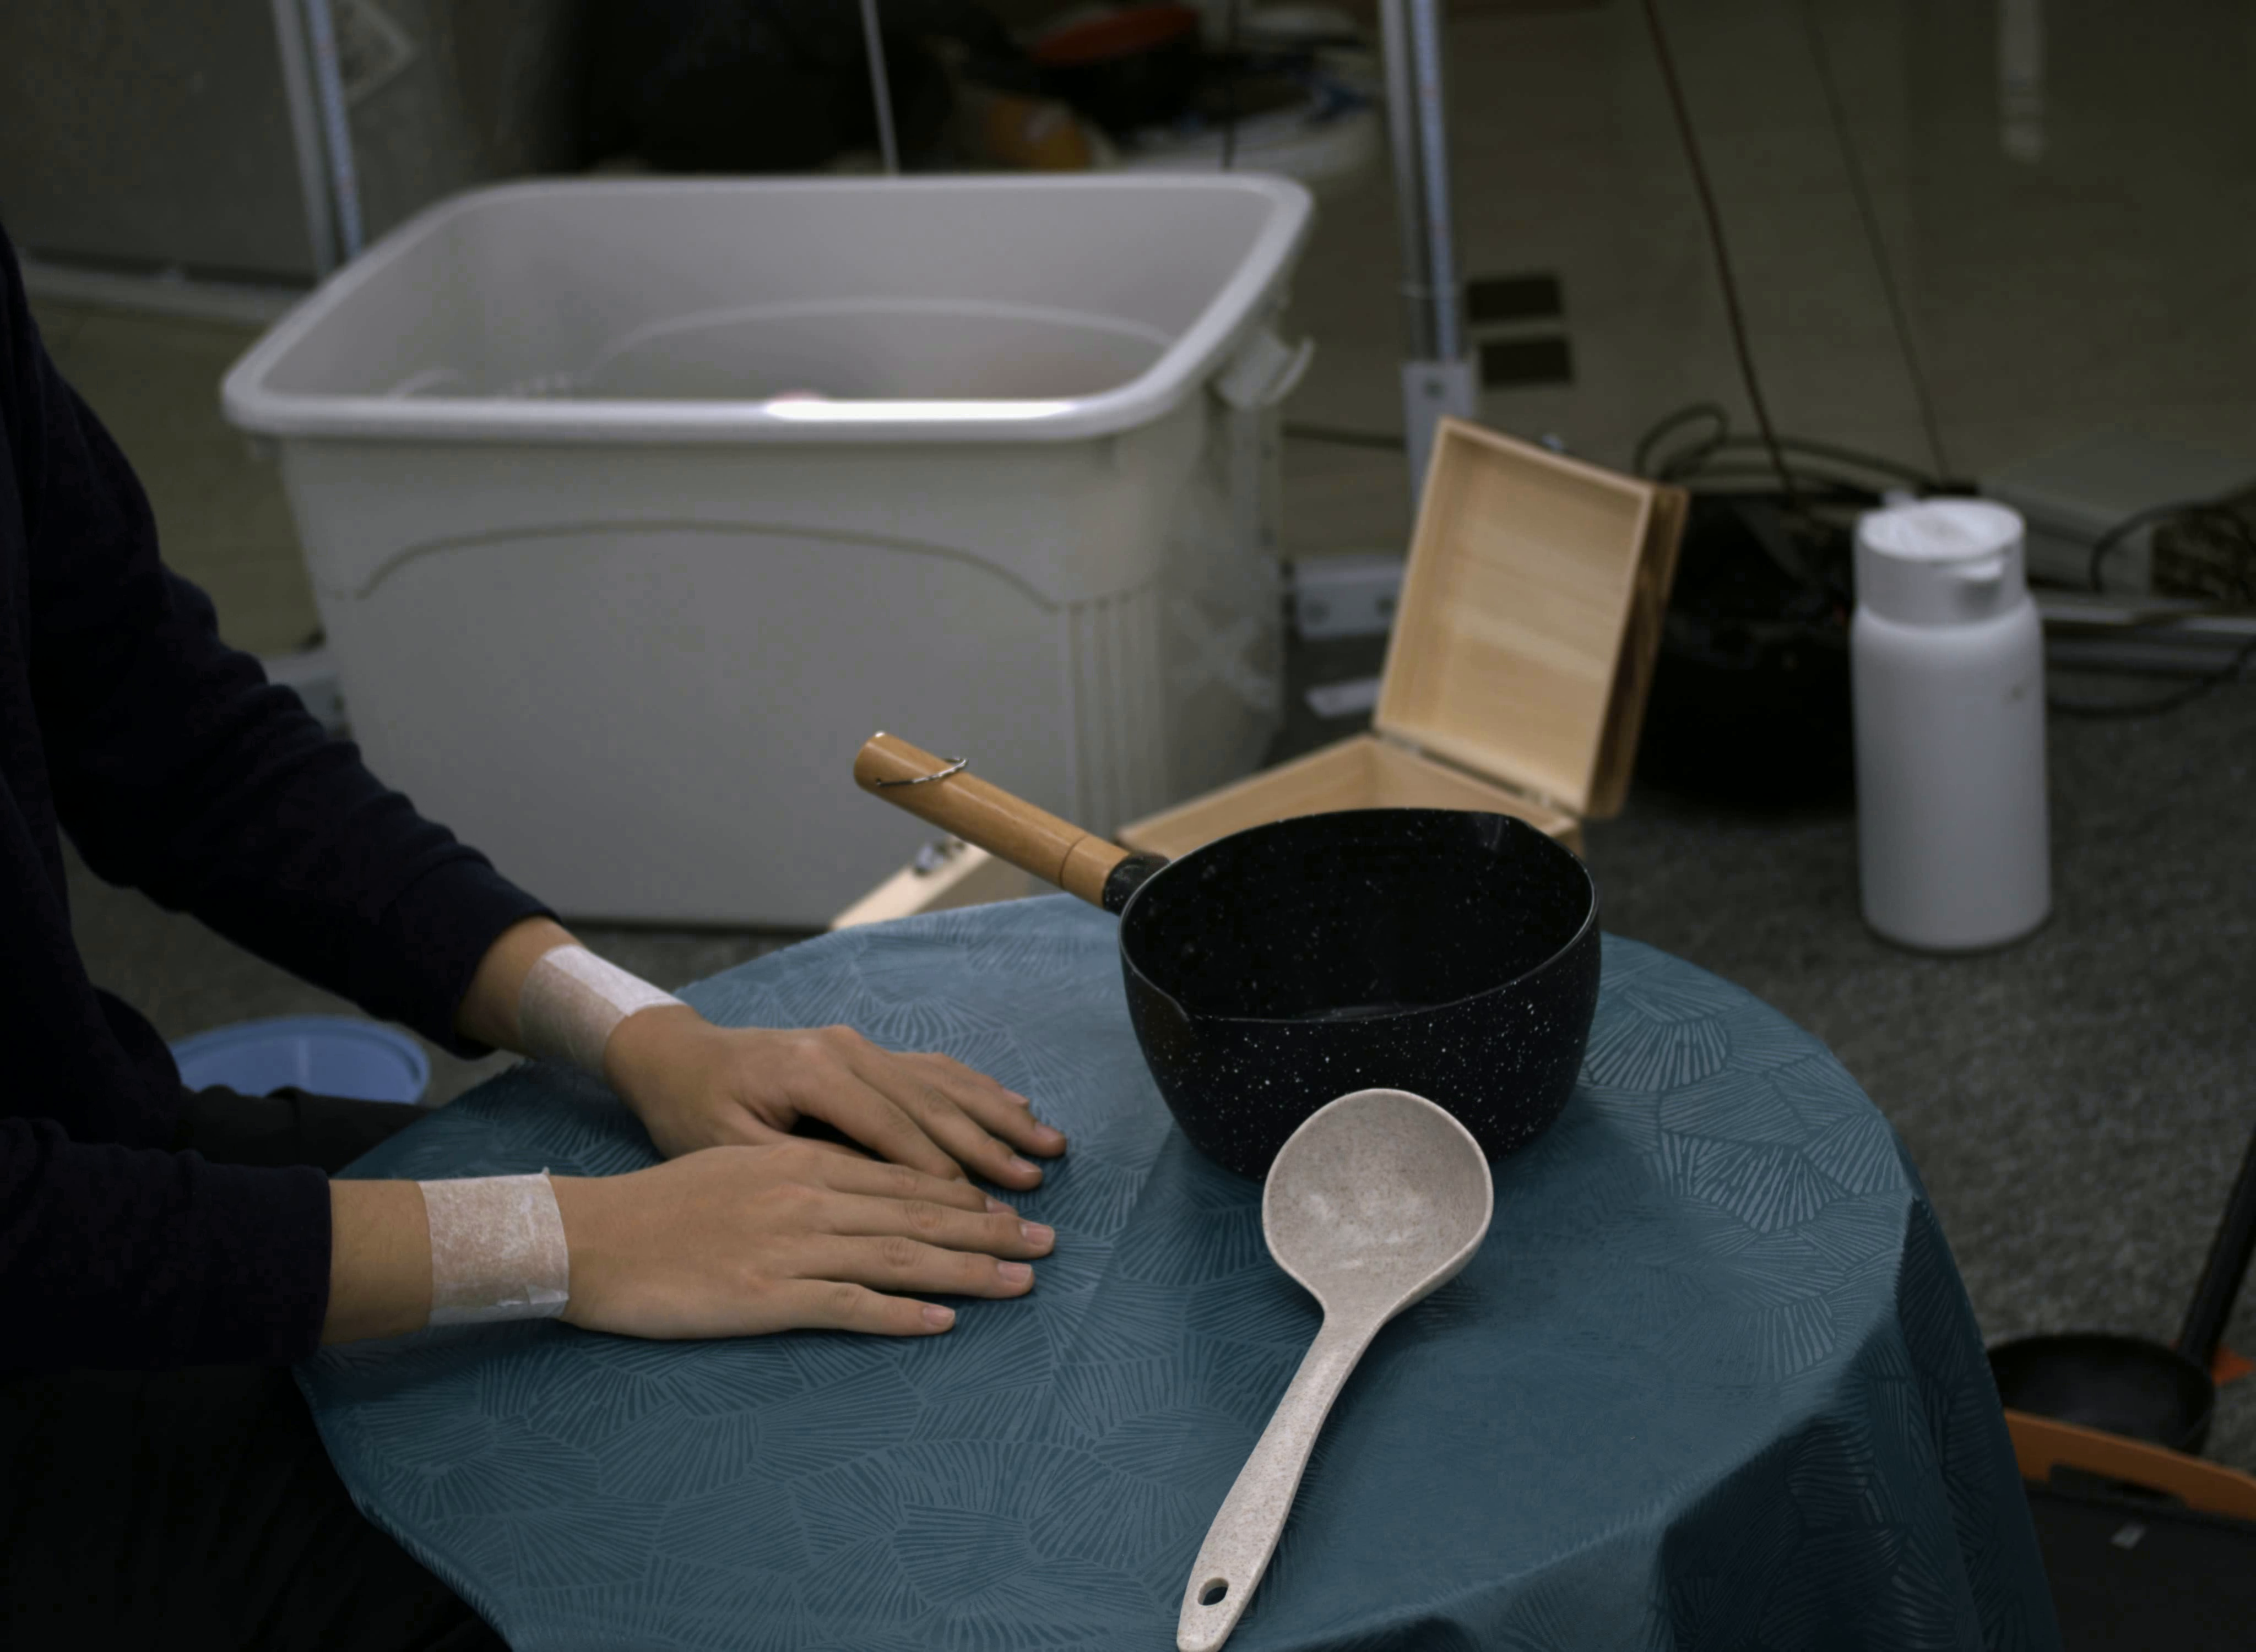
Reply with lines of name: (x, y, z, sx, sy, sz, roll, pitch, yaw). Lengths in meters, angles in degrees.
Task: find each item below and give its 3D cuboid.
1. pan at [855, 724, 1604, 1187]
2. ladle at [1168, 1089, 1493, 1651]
pan: (0.028, 0.044, 2.213, 0.340, 0.110, 0.205, 15, 34, 35)
ladle: (0.055, 0.184, 1.958, 0.089, 0.070, 0.271, -2, 26, 22)
